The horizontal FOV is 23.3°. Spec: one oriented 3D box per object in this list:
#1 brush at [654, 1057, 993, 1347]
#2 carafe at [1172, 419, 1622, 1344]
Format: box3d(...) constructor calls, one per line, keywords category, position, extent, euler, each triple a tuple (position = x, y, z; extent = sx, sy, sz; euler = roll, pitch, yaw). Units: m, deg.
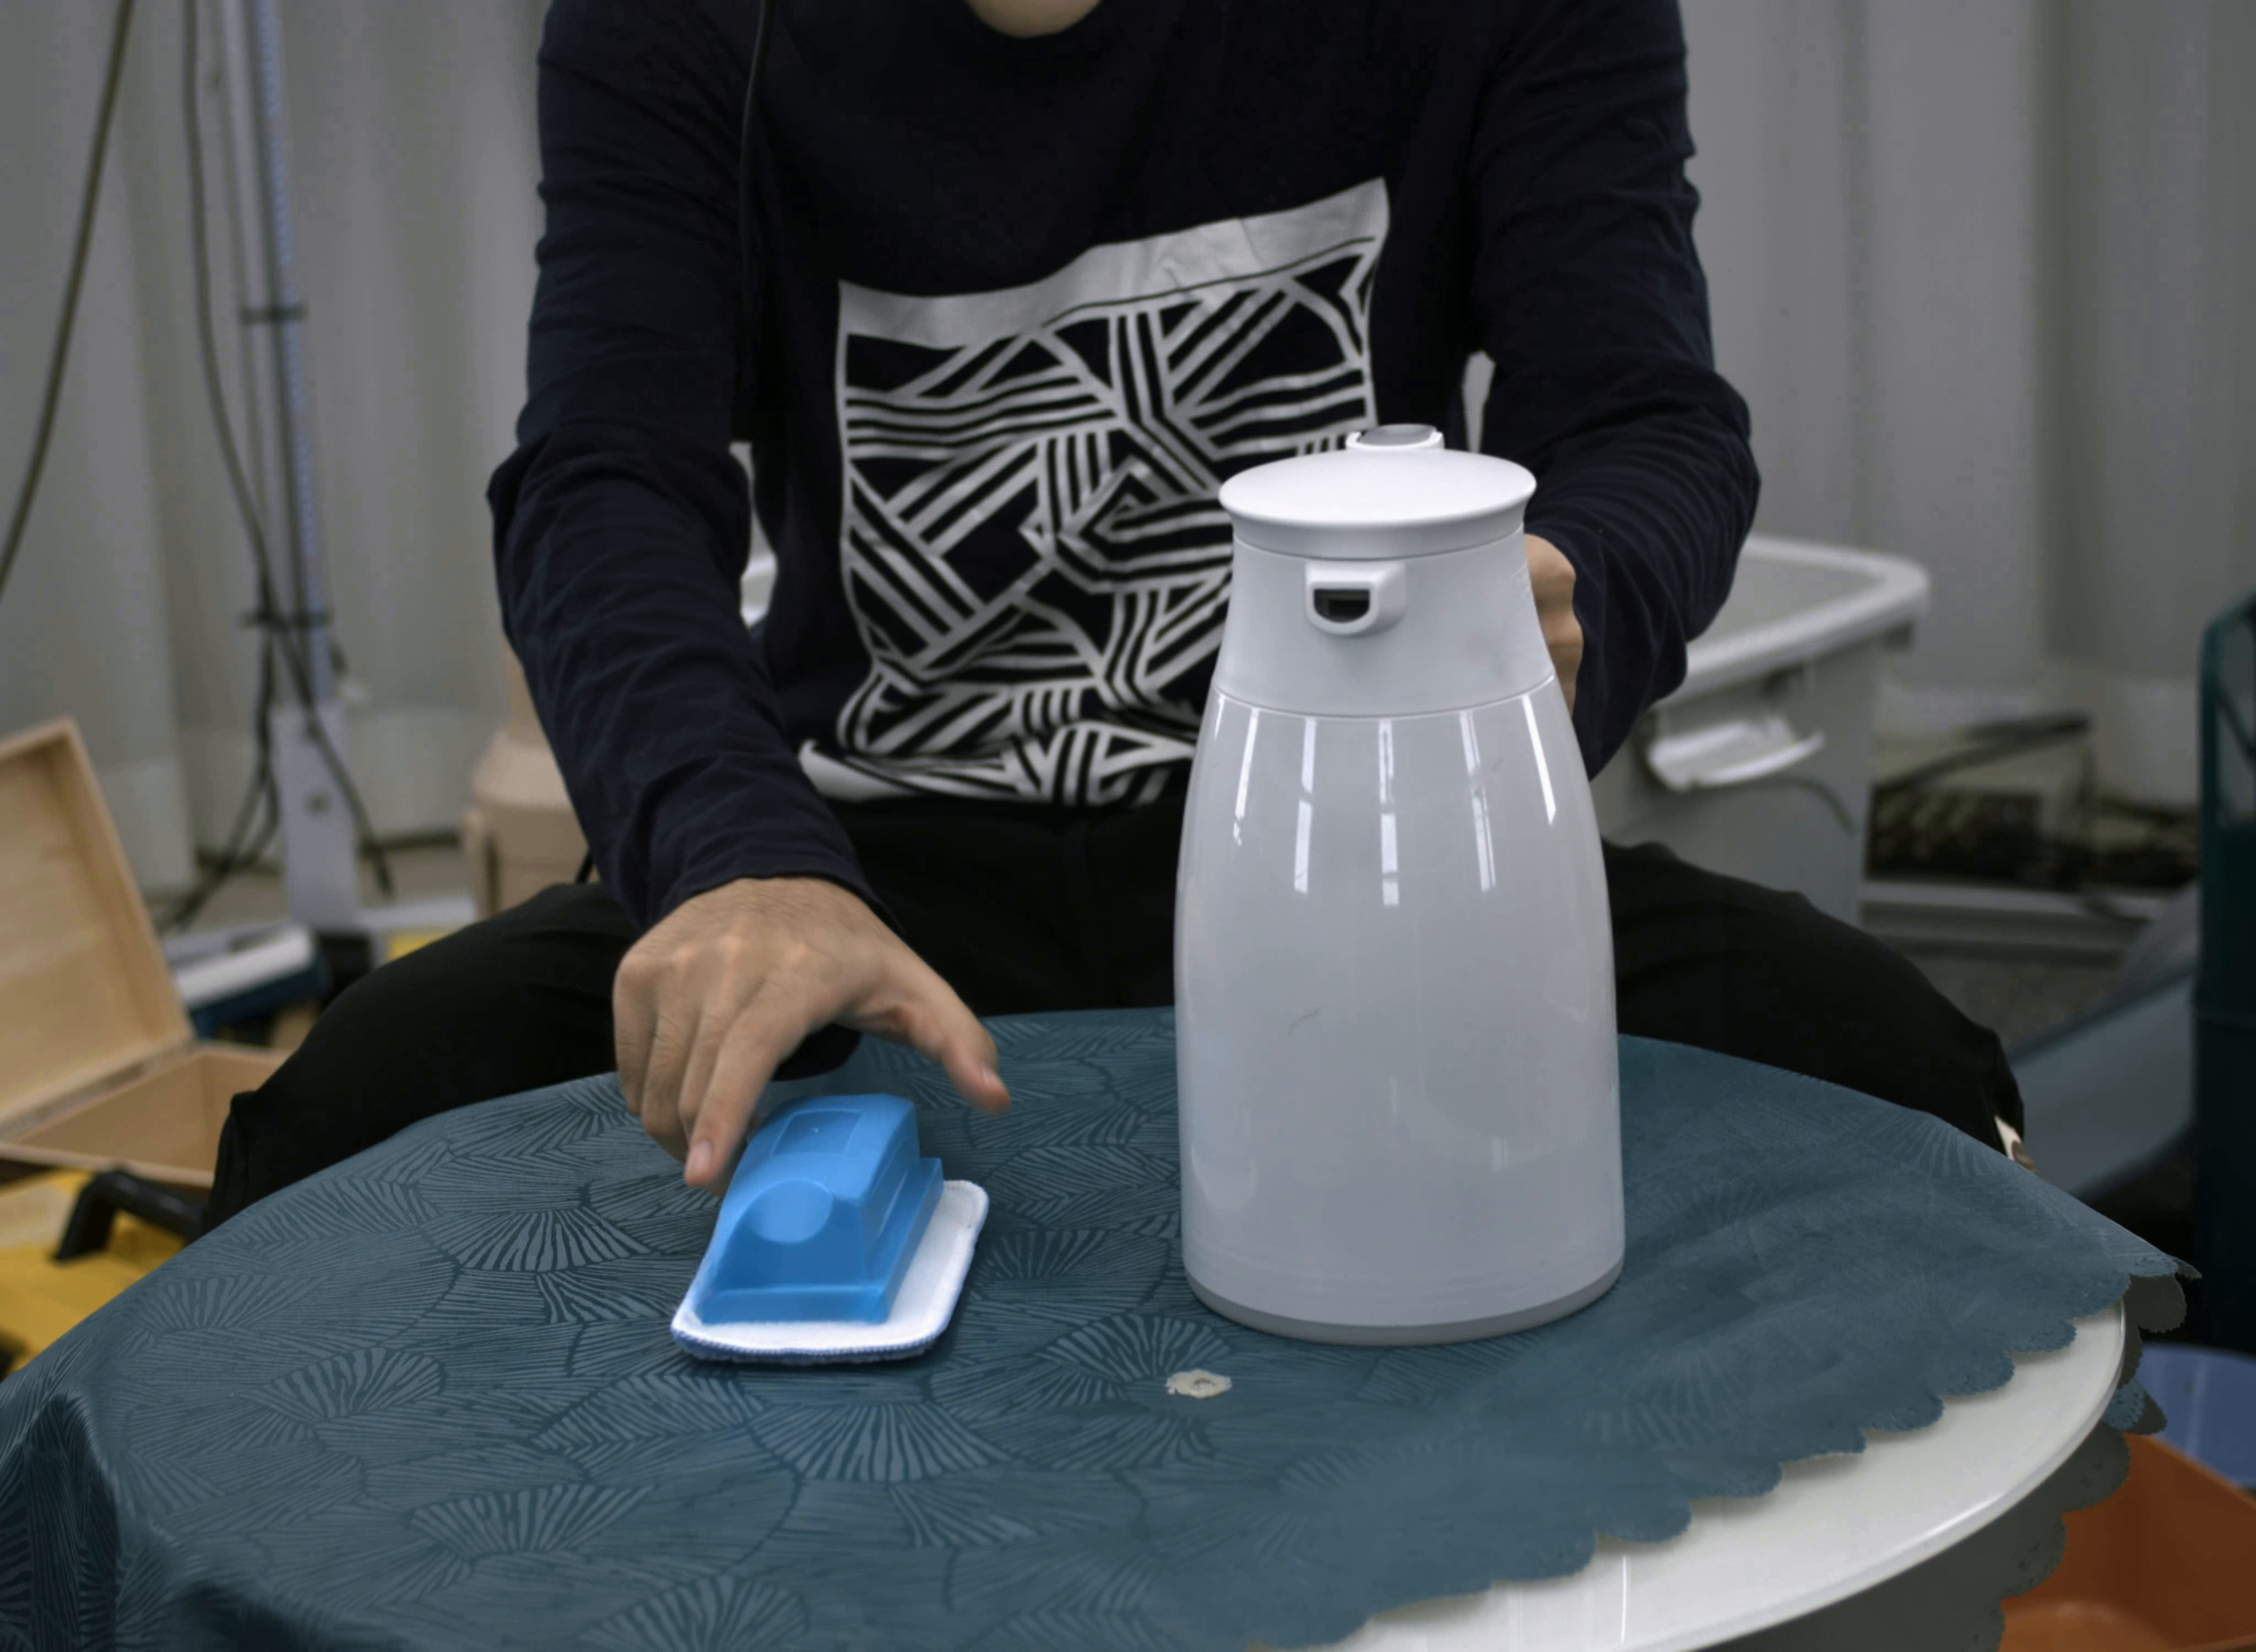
box3d(category="brush", position=(-0.090, 0.109, 1.638), extent=(0.084, 0.055, 0.145), euler=(3, 17, 8))
box3d(category="carafe", position=(0.078, 0.007, 1.617), extent=(0.132, 0.247, 0.168), euler=(0, 14, 10))
